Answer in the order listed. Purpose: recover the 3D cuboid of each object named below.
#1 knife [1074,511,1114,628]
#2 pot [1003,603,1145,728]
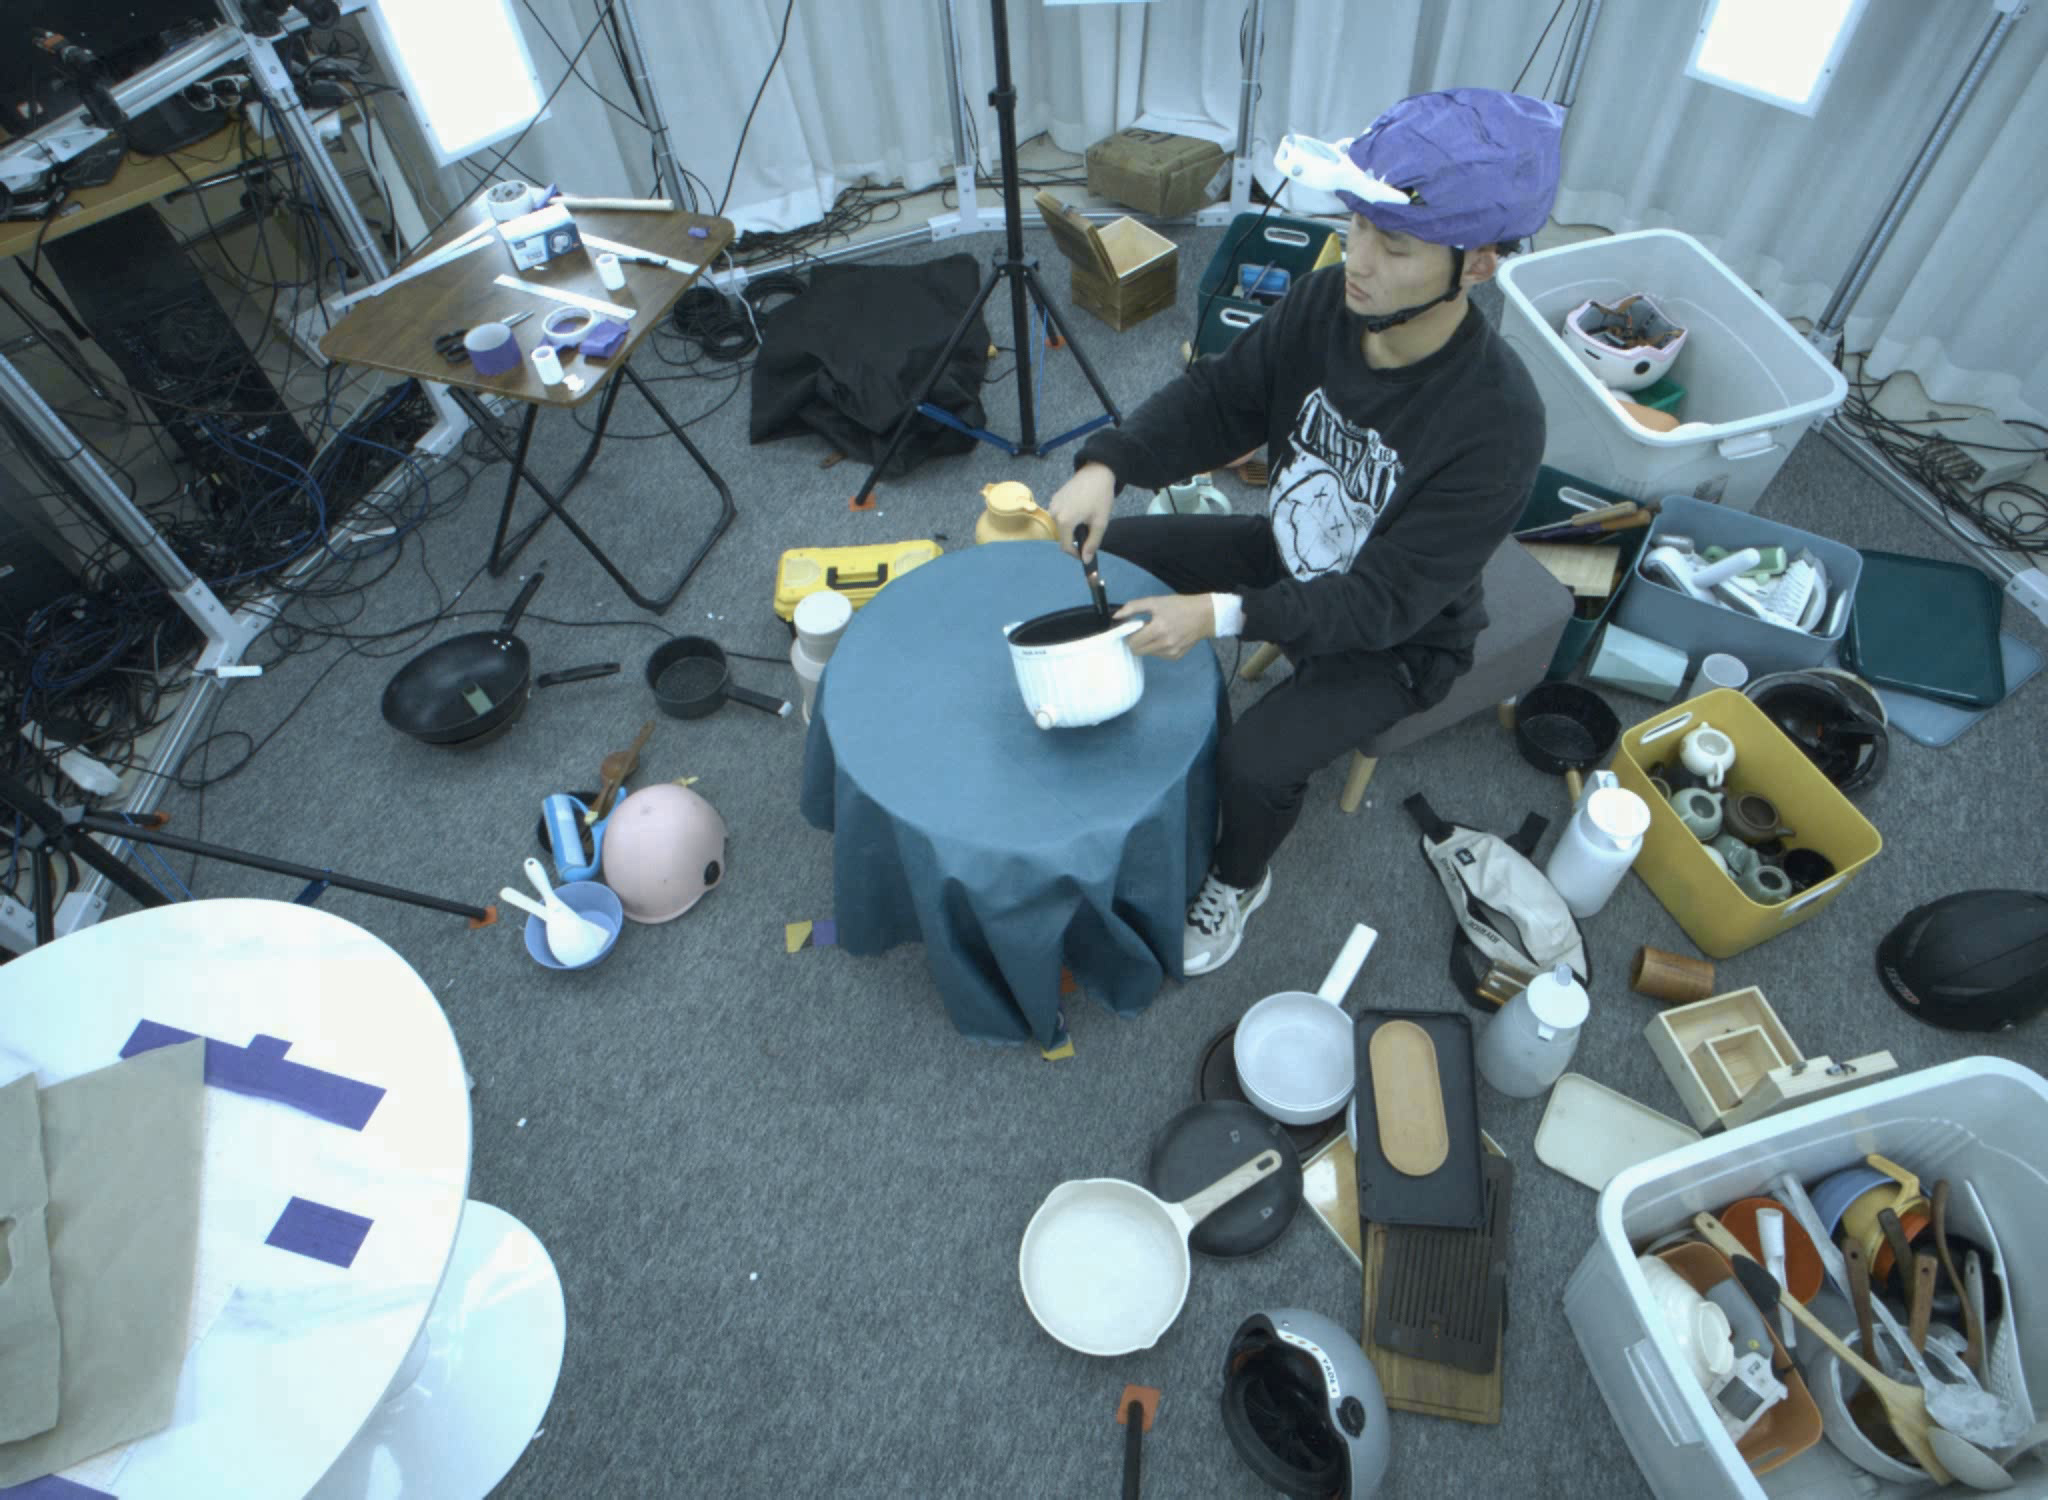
[{"bbox_3d":[0.106,-0.235,1.772,0.026,0.227,0.017,-11,18,12],"label":"knife"},{"bbox_3d":[0.076,-0.116,1.747,0.235,0.144,0.193,2,22,39],"label":"pot"}]
